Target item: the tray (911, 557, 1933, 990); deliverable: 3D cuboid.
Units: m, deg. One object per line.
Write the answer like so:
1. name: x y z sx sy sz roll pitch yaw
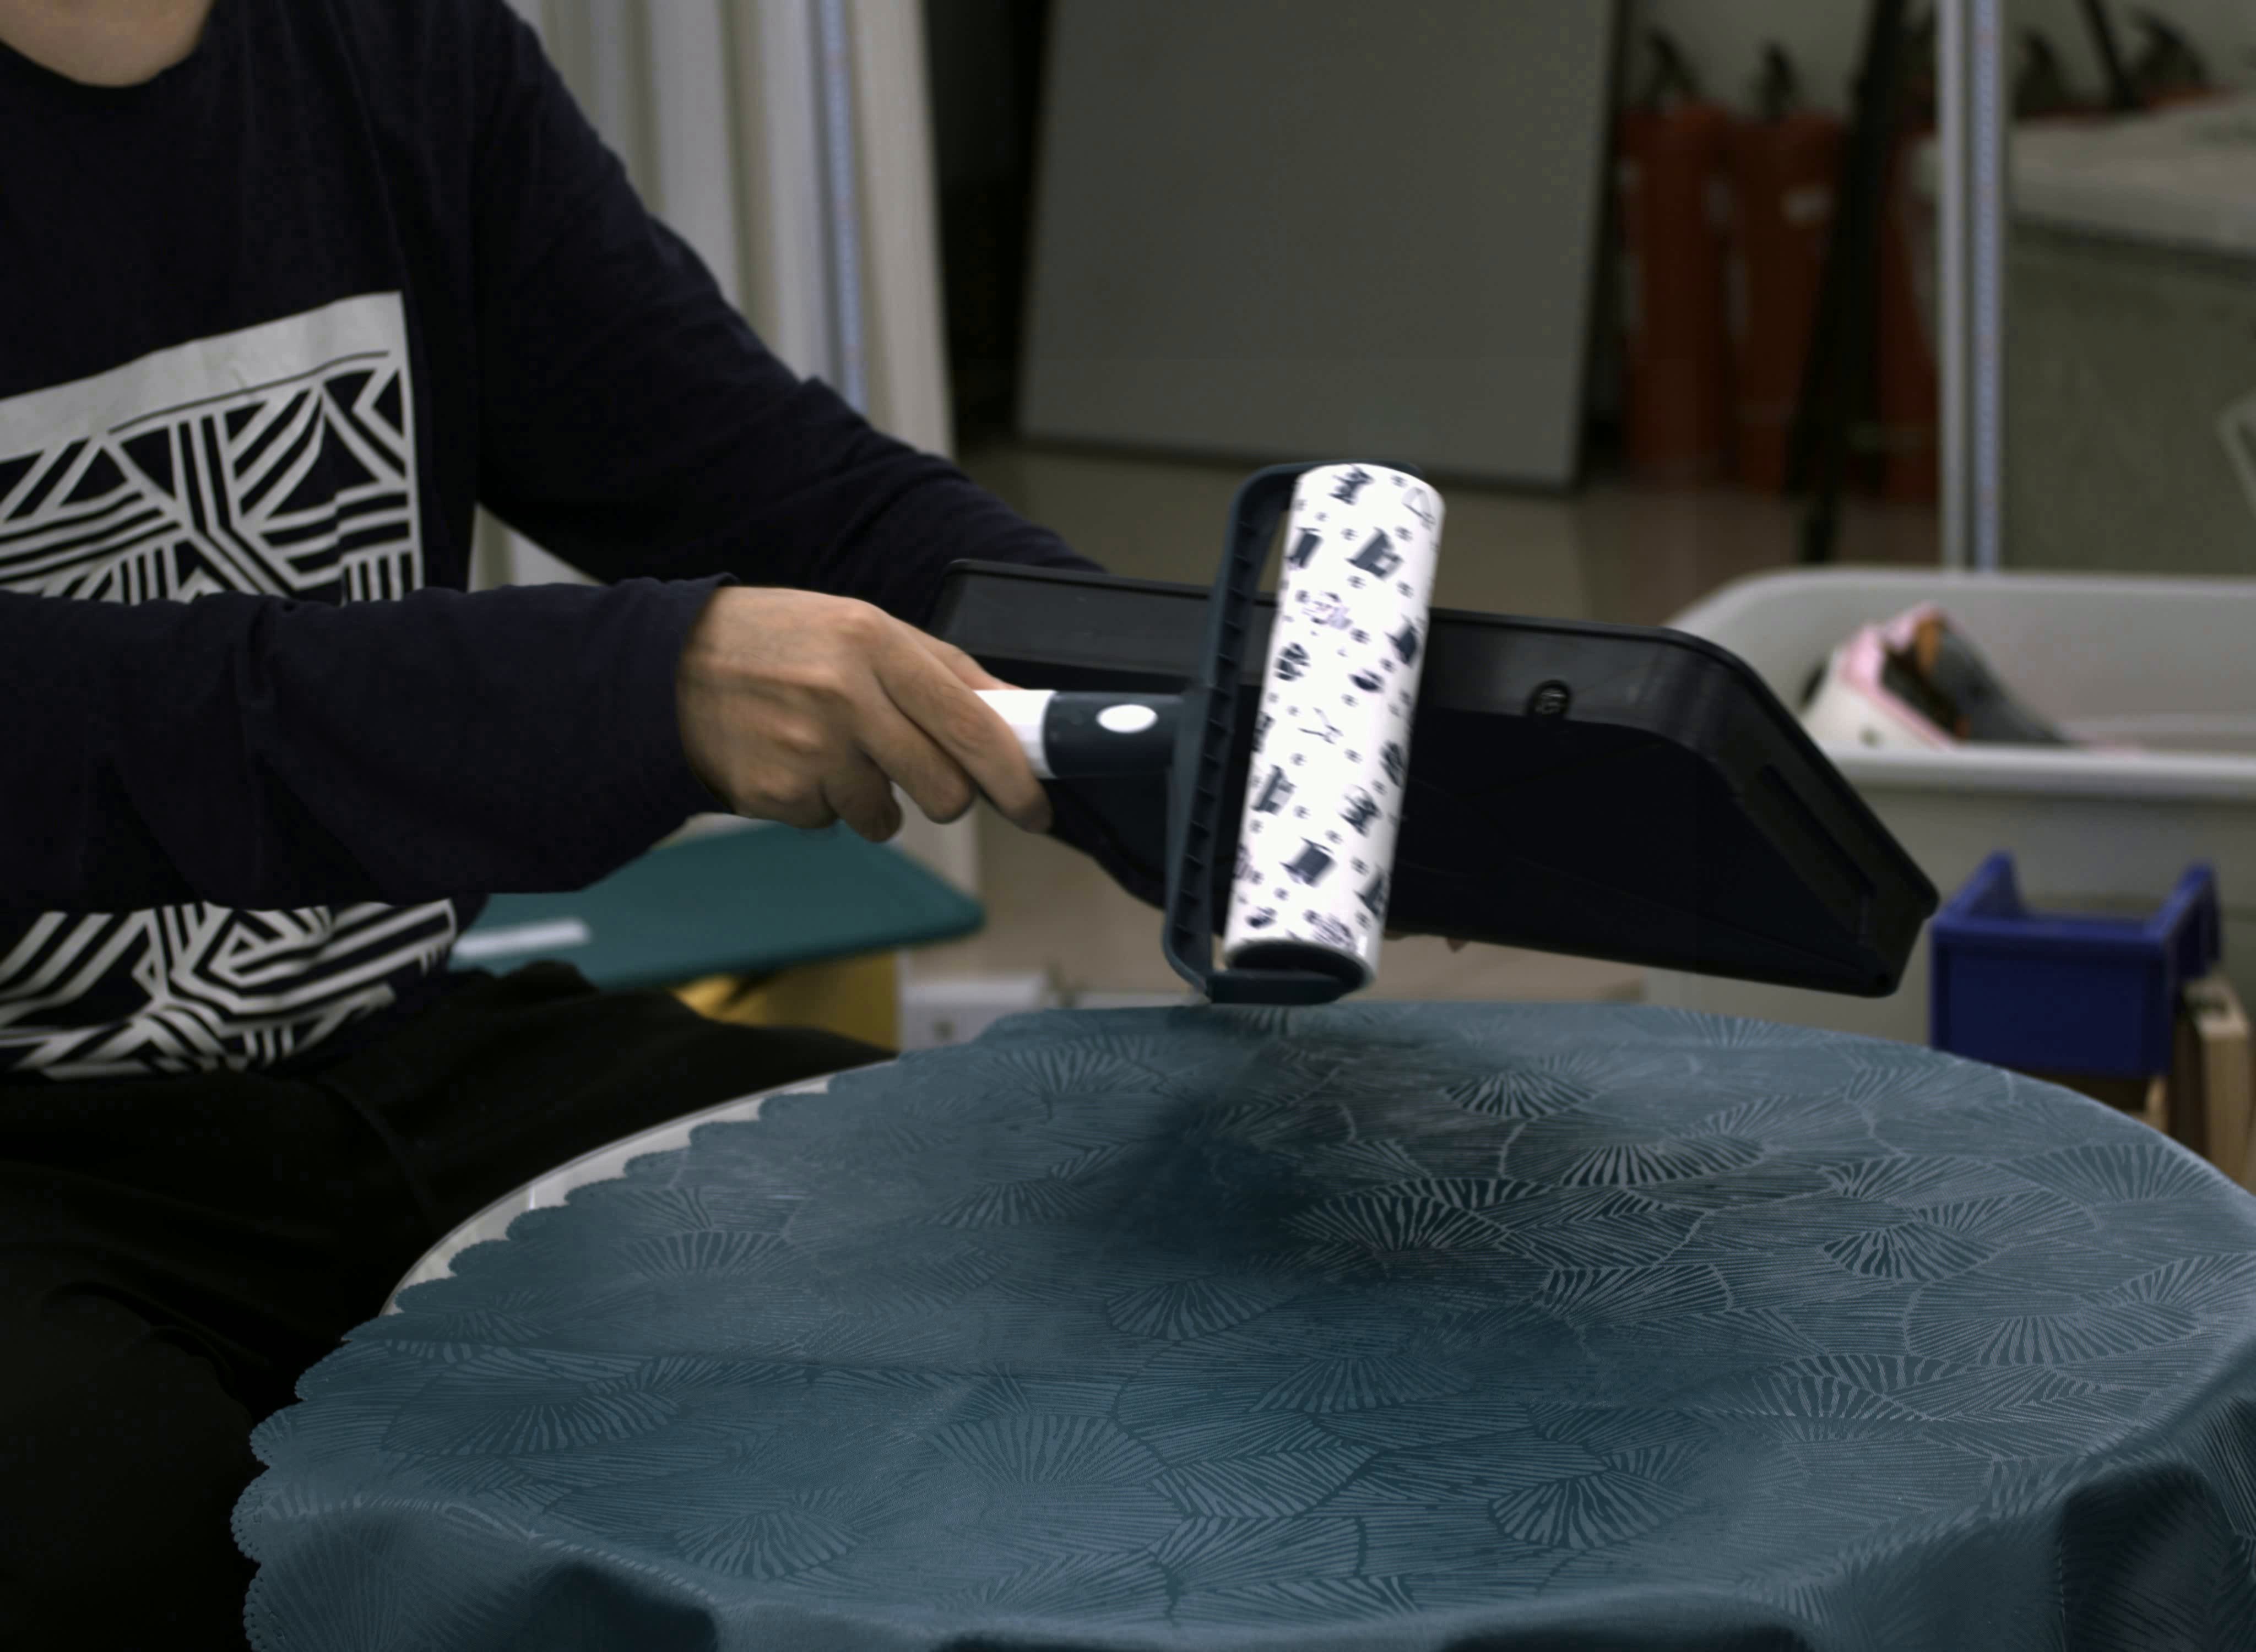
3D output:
1. tray: 0.091 -0.018 1.752 0.320 0.037 0.182 6 -27 39

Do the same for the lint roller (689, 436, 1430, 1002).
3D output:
1. lint roller: -0.030 -0.029 1.670 0.247 0.178 0.050 -2 -24 25
